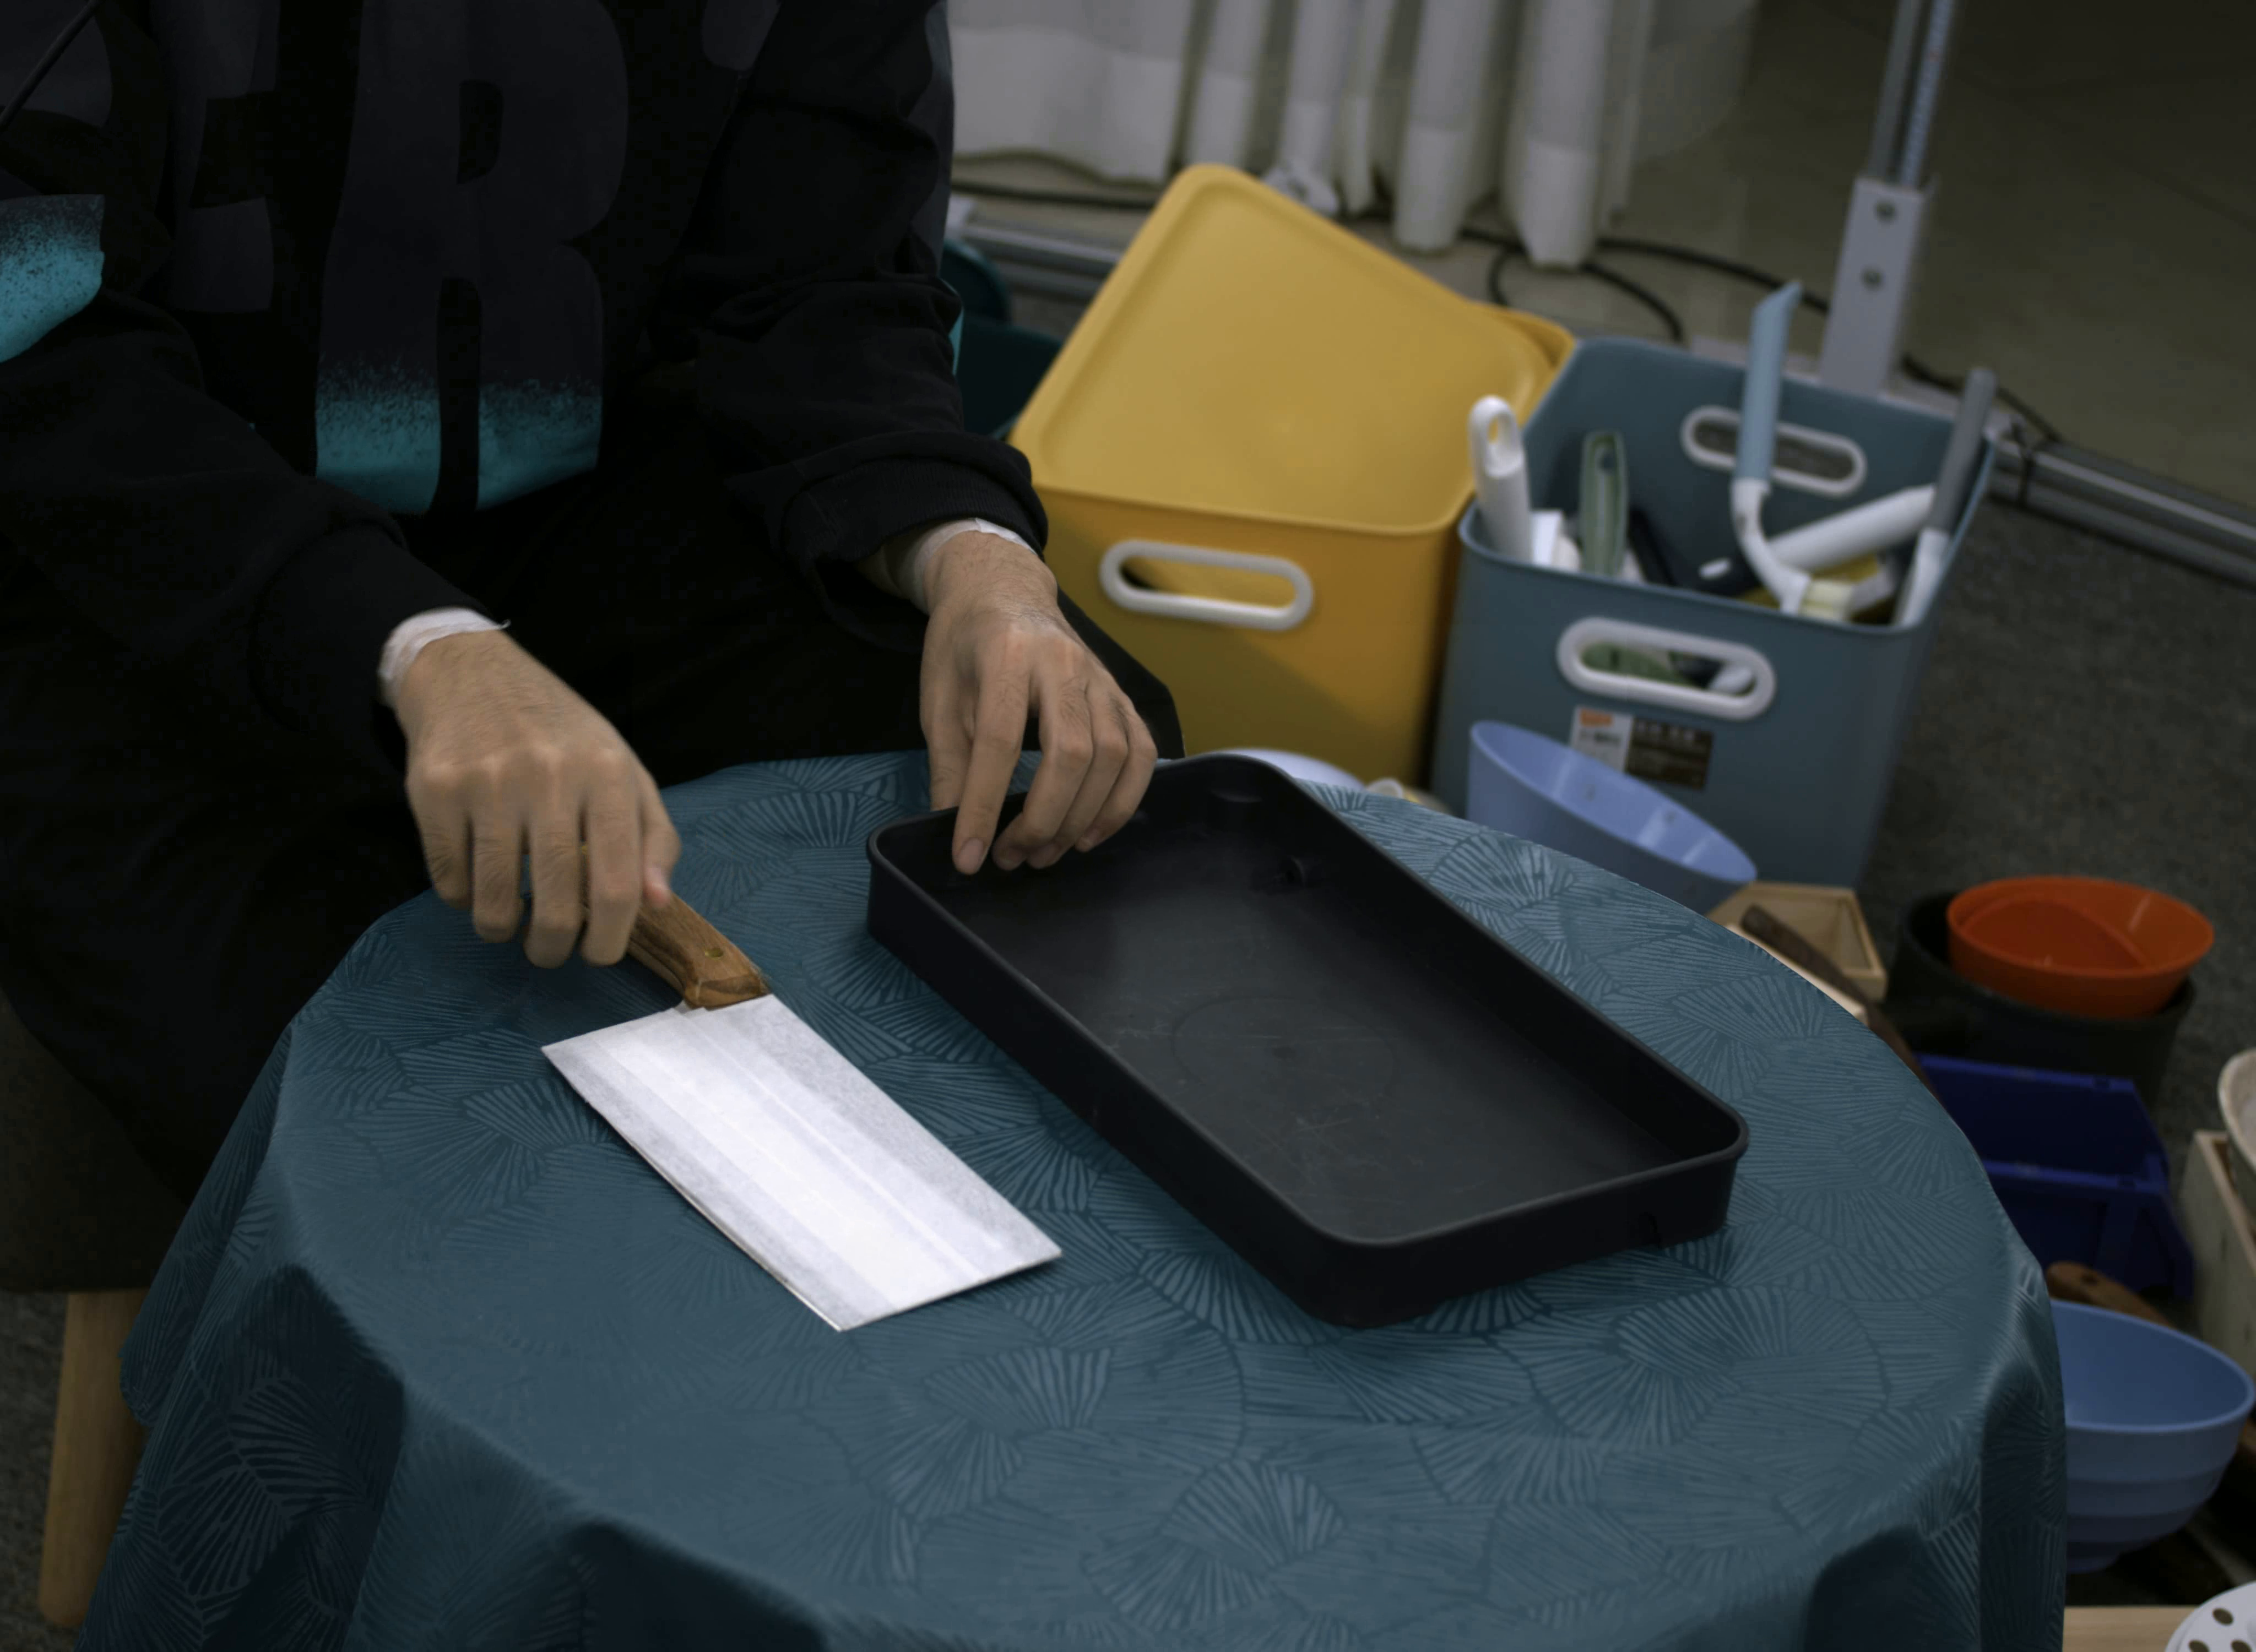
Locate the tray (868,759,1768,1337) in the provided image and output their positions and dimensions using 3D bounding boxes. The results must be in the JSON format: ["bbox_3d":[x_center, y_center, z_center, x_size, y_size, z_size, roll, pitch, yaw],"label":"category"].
[{"bbox_3d":[0.061,0.072,1.878,0.183,0.037,0.321,-13,33,-33],"label":"tray"}]

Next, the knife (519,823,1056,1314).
[{"bbox_3d":[-0.143,0.083,1.834,0.092,0.021,0.308,-16,36,-32],"label":"knife"}]
